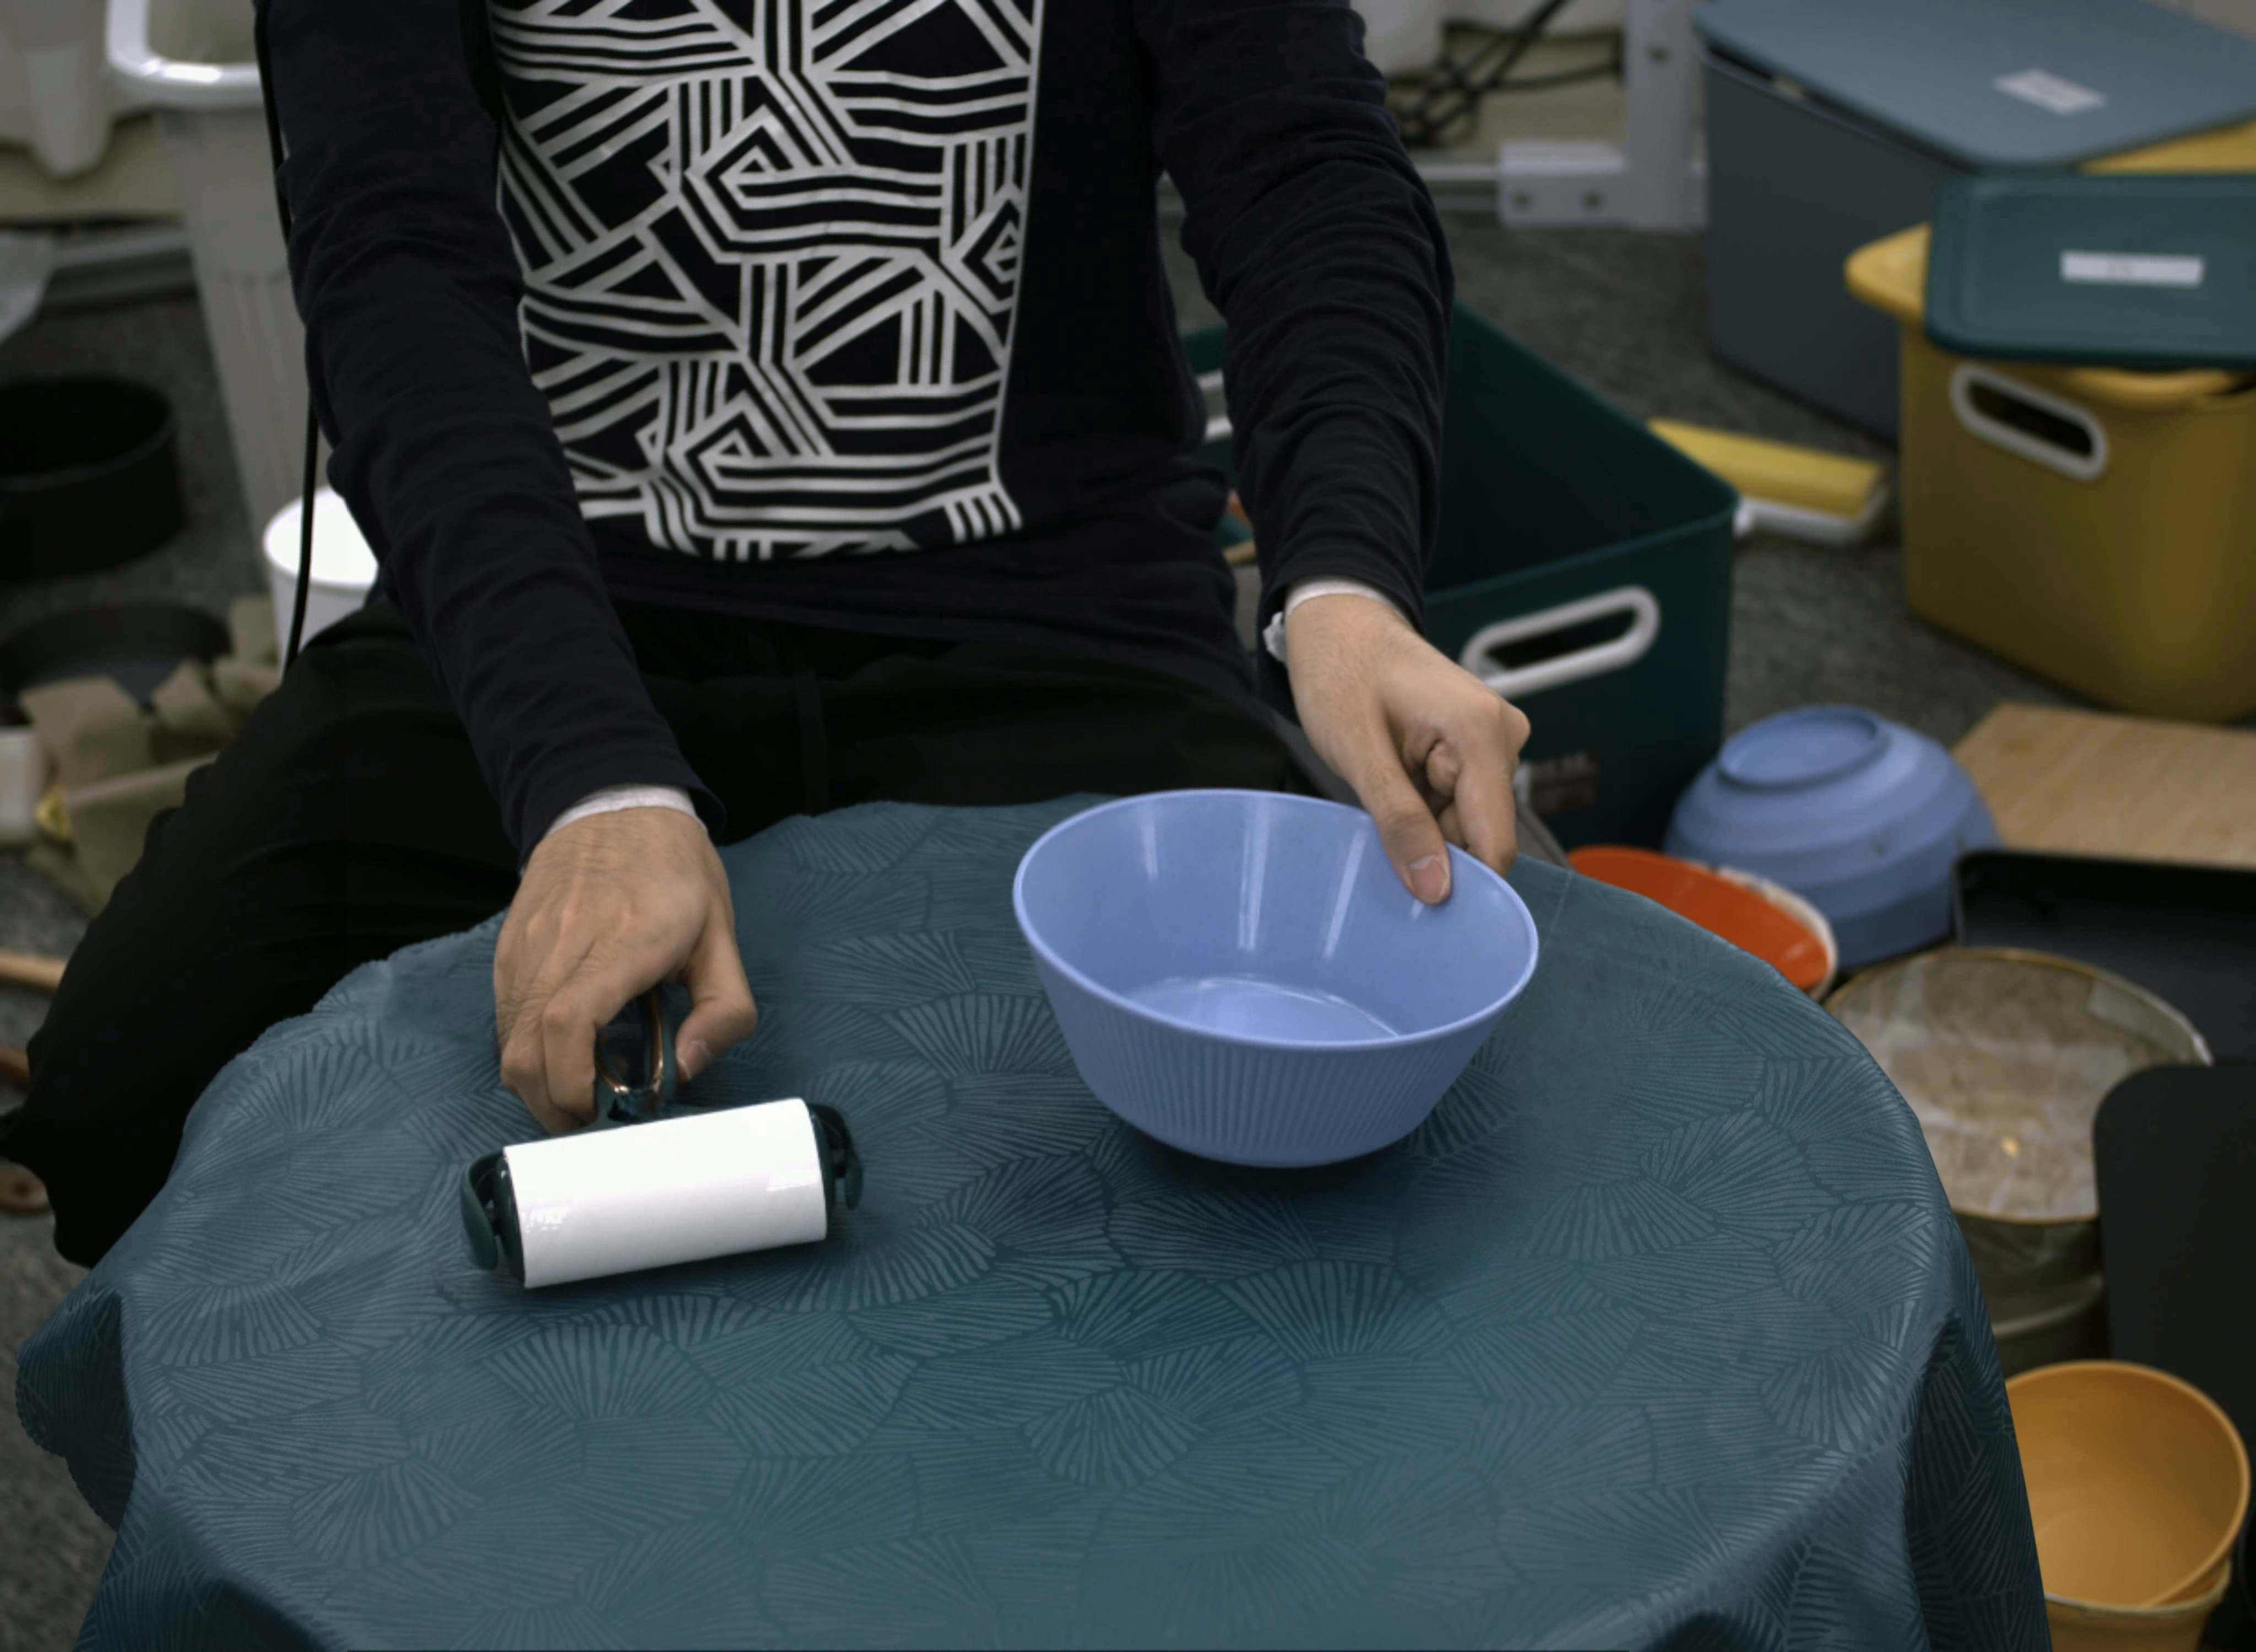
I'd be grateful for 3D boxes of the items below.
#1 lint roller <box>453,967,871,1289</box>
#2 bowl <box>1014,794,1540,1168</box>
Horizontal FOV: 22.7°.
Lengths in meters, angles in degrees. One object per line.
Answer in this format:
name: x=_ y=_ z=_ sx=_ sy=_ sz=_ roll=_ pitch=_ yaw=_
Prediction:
lint roller: x=-0.167 y=0.083 z=1.880 sx=0.134 sy=0.047 sz=0.182 roll=-9 pitch=35 yaw=-11
bowl: x=0.047 y=0.057 z=1.874 sx=0.175 sy=0.069 sz=0.179 roll=5 pitch=26 yaw=-2
